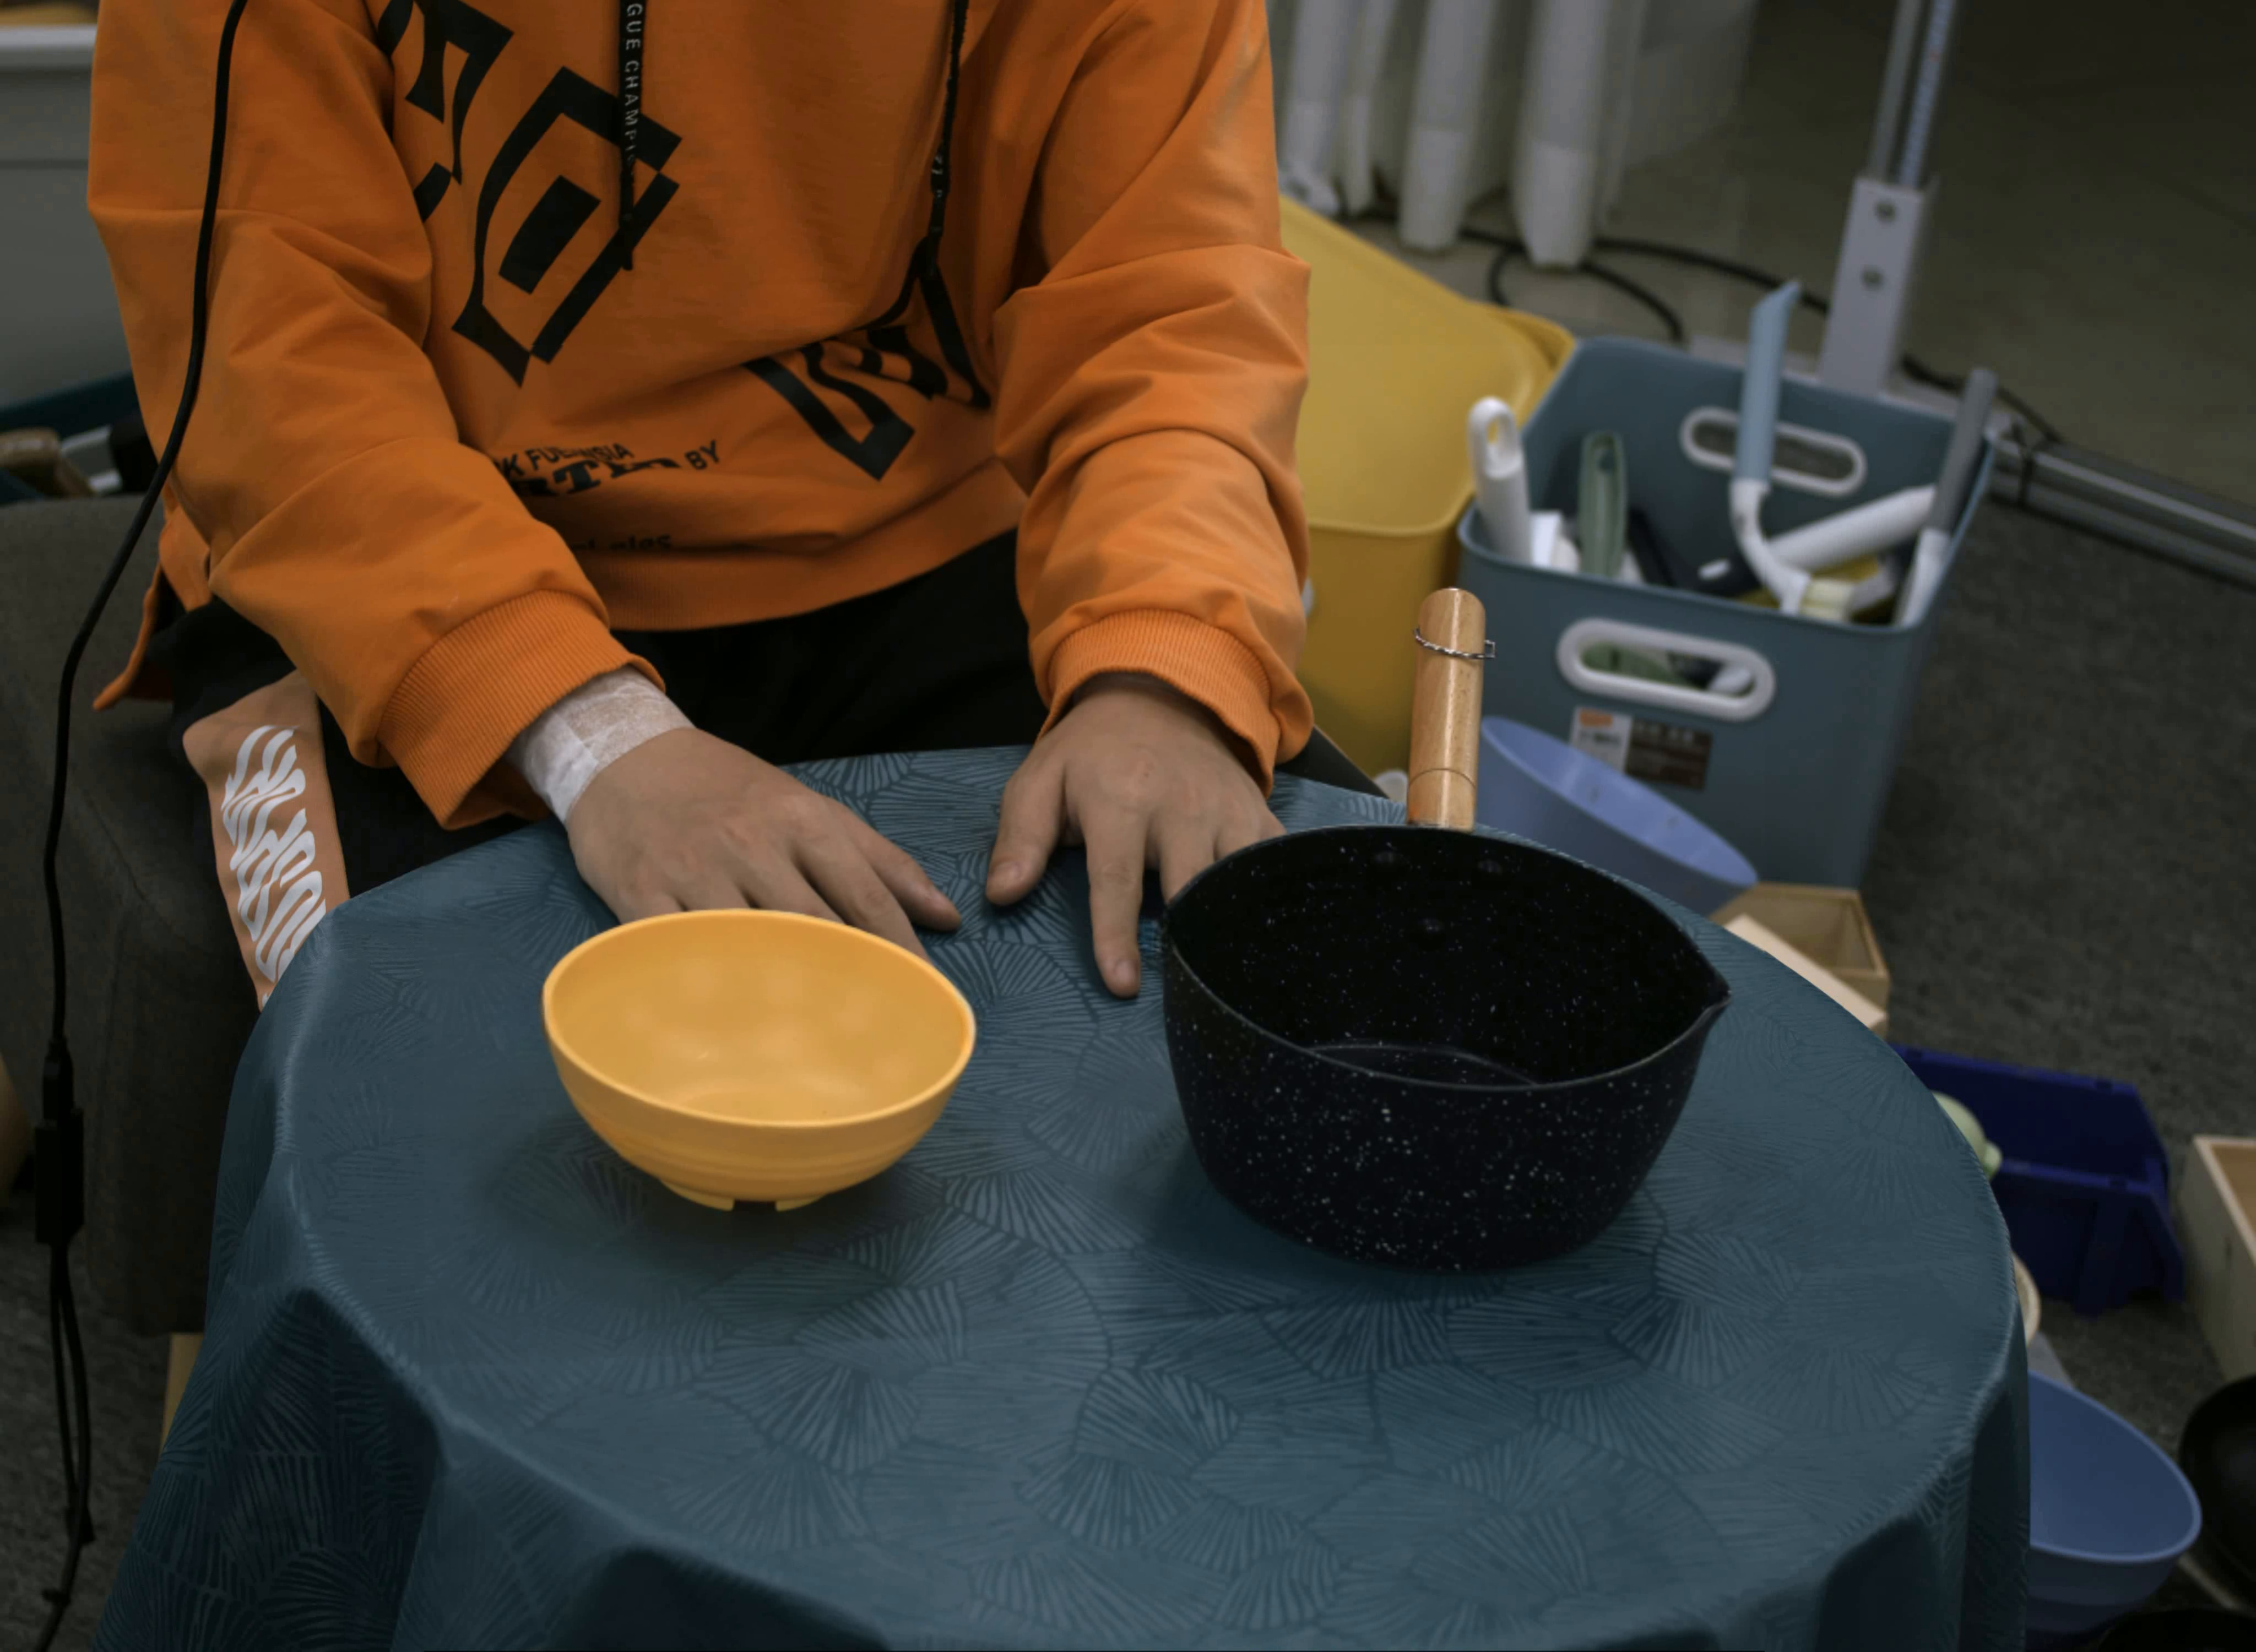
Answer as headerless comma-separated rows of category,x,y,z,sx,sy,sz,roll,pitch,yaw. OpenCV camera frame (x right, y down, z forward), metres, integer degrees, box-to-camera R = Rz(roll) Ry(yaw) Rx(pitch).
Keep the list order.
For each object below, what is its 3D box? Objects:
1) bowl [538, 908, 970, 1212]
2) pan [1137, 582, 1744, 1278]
bowl,-0.127,0.087,1.781,0.145,0.060,0.146,6,26,-3
pan,0.107,0.033,1.886,0.207,0.108,0.345,5,28,1
